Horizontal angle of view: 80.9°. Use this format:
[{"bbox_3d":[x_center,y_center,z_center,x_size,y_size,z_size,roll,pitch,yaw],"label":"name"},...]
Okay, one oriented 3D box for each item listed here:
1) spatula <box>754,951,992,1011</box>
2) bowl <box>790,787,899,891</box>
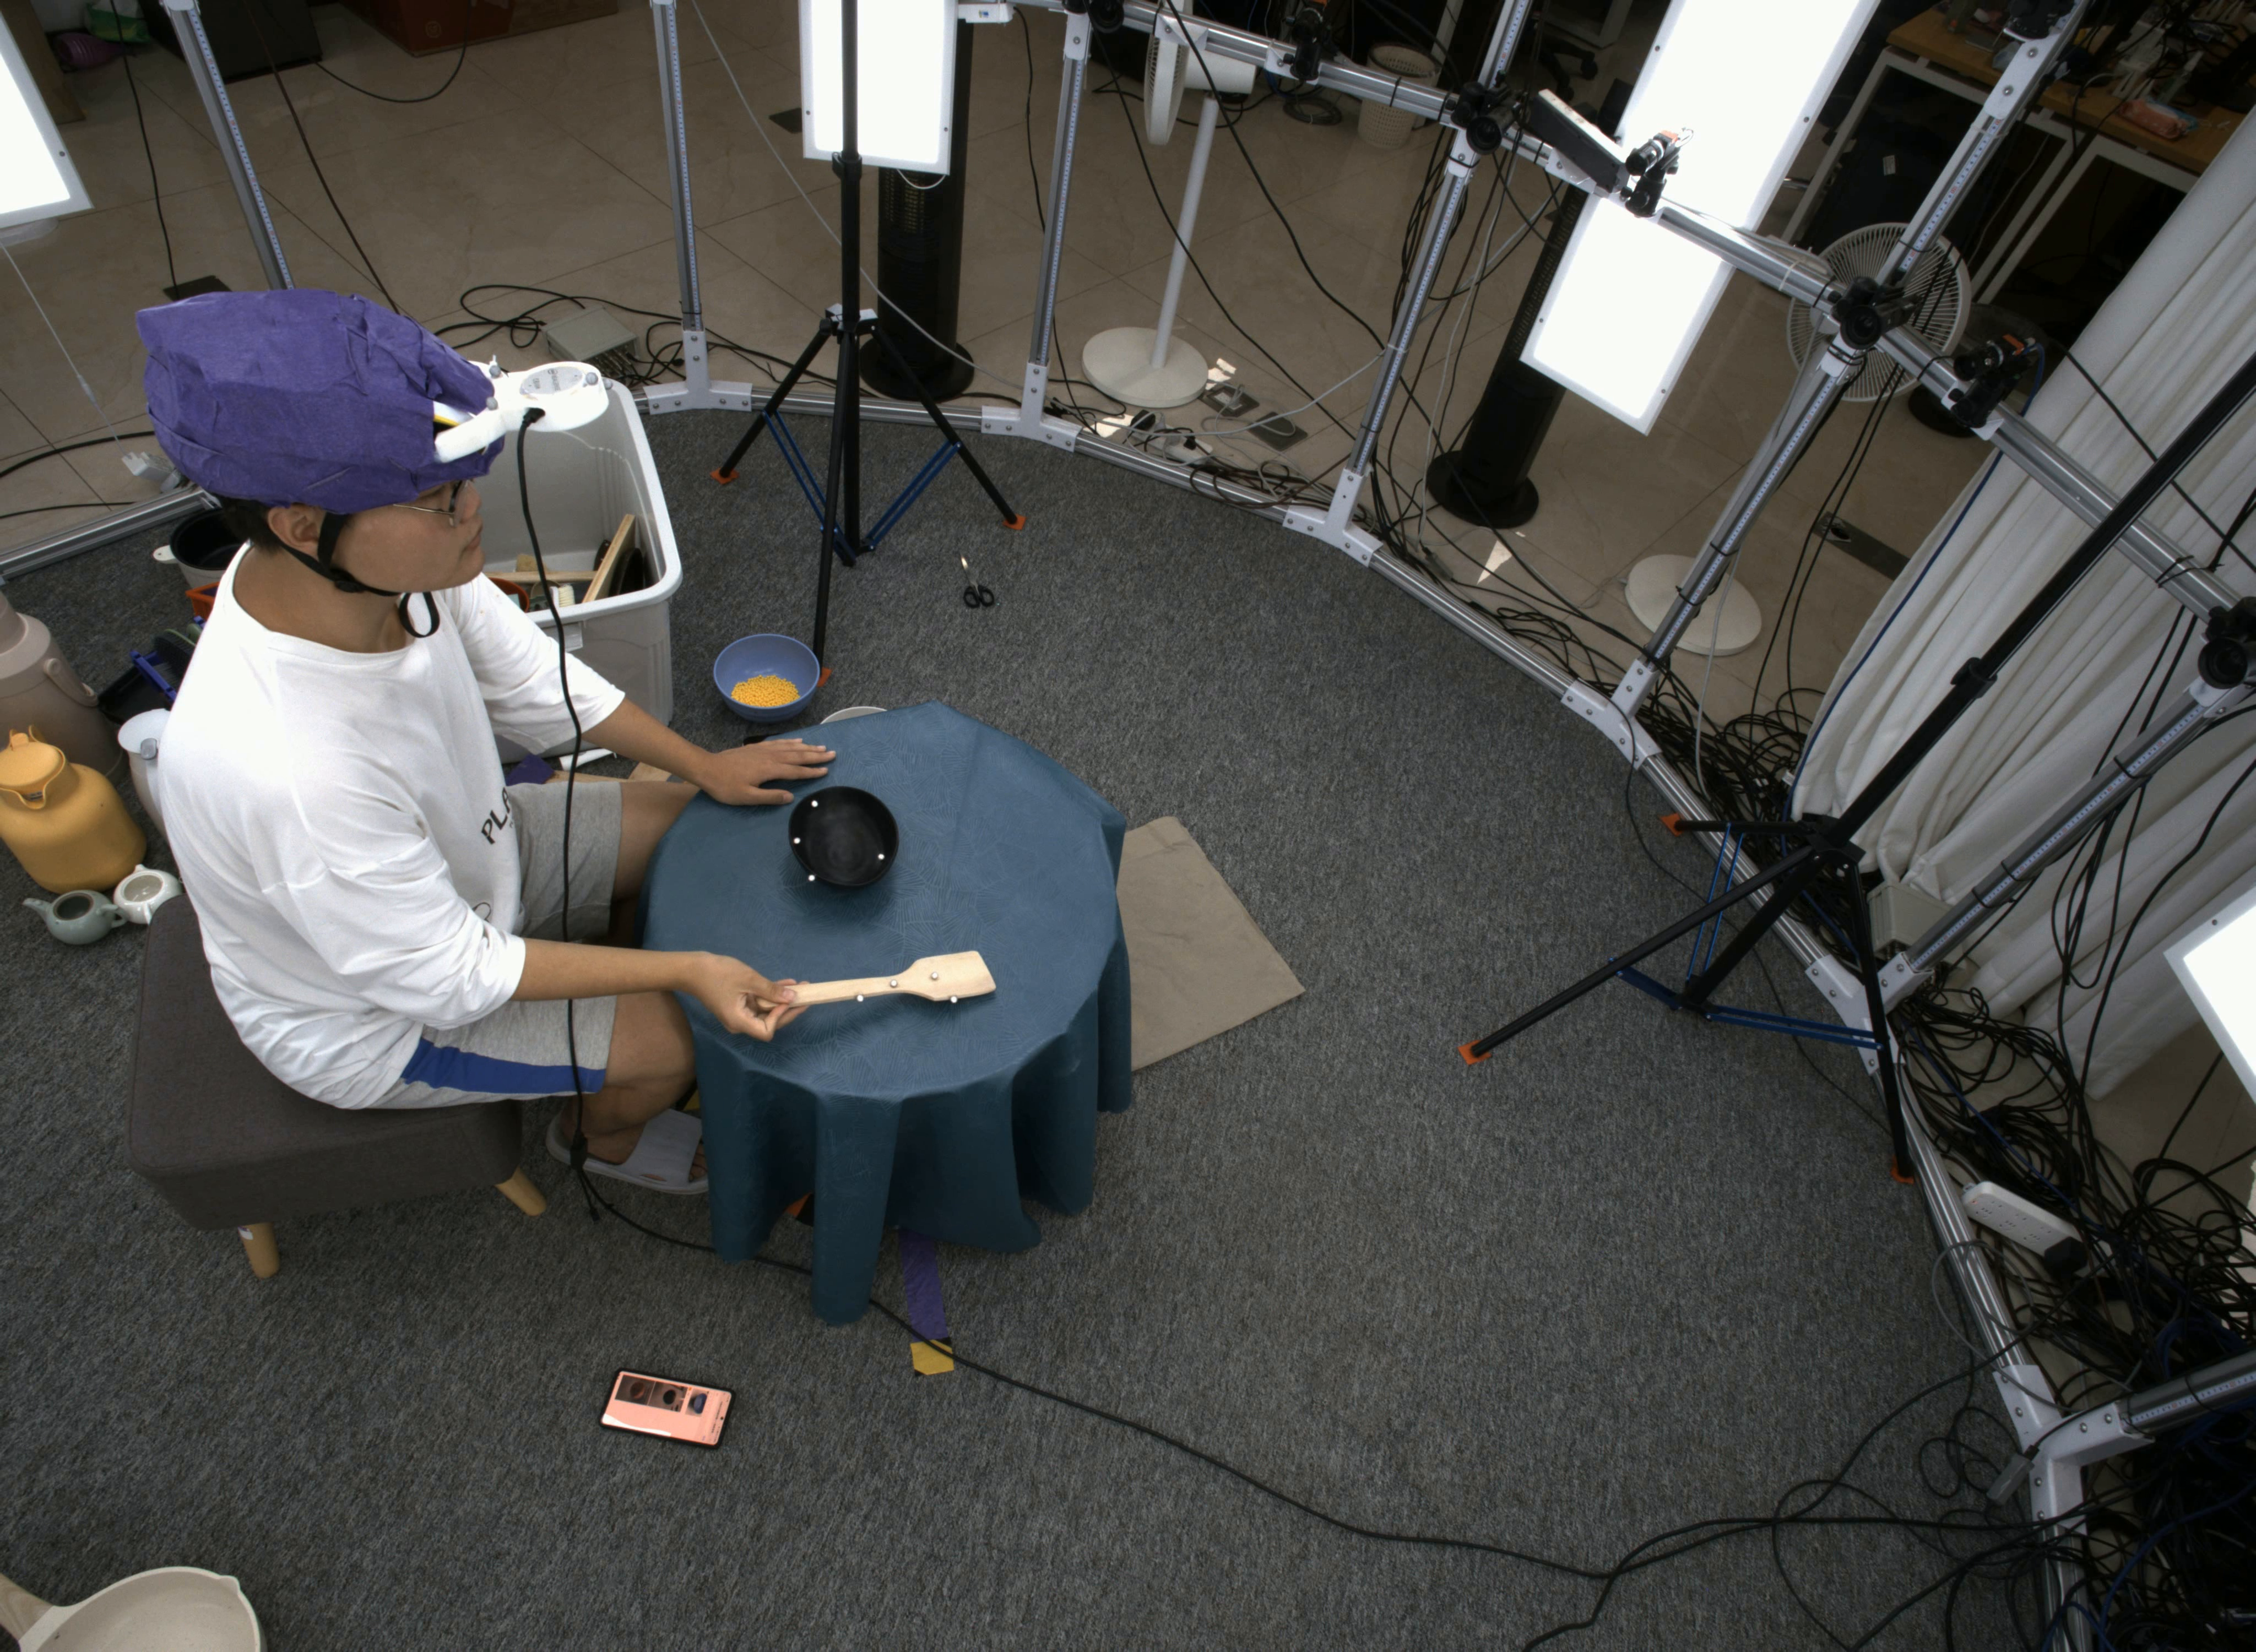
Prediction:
[{"bbox_3d":[-0.306,0.192,1.570,0.297,0.011,0.070,-4,44,-33],"label":"spatula"},{"bbox_3d":[-0.368,0.024,1.689,0.138,0.068,0.166,-14,56,-21],"label":"bowl"}]
